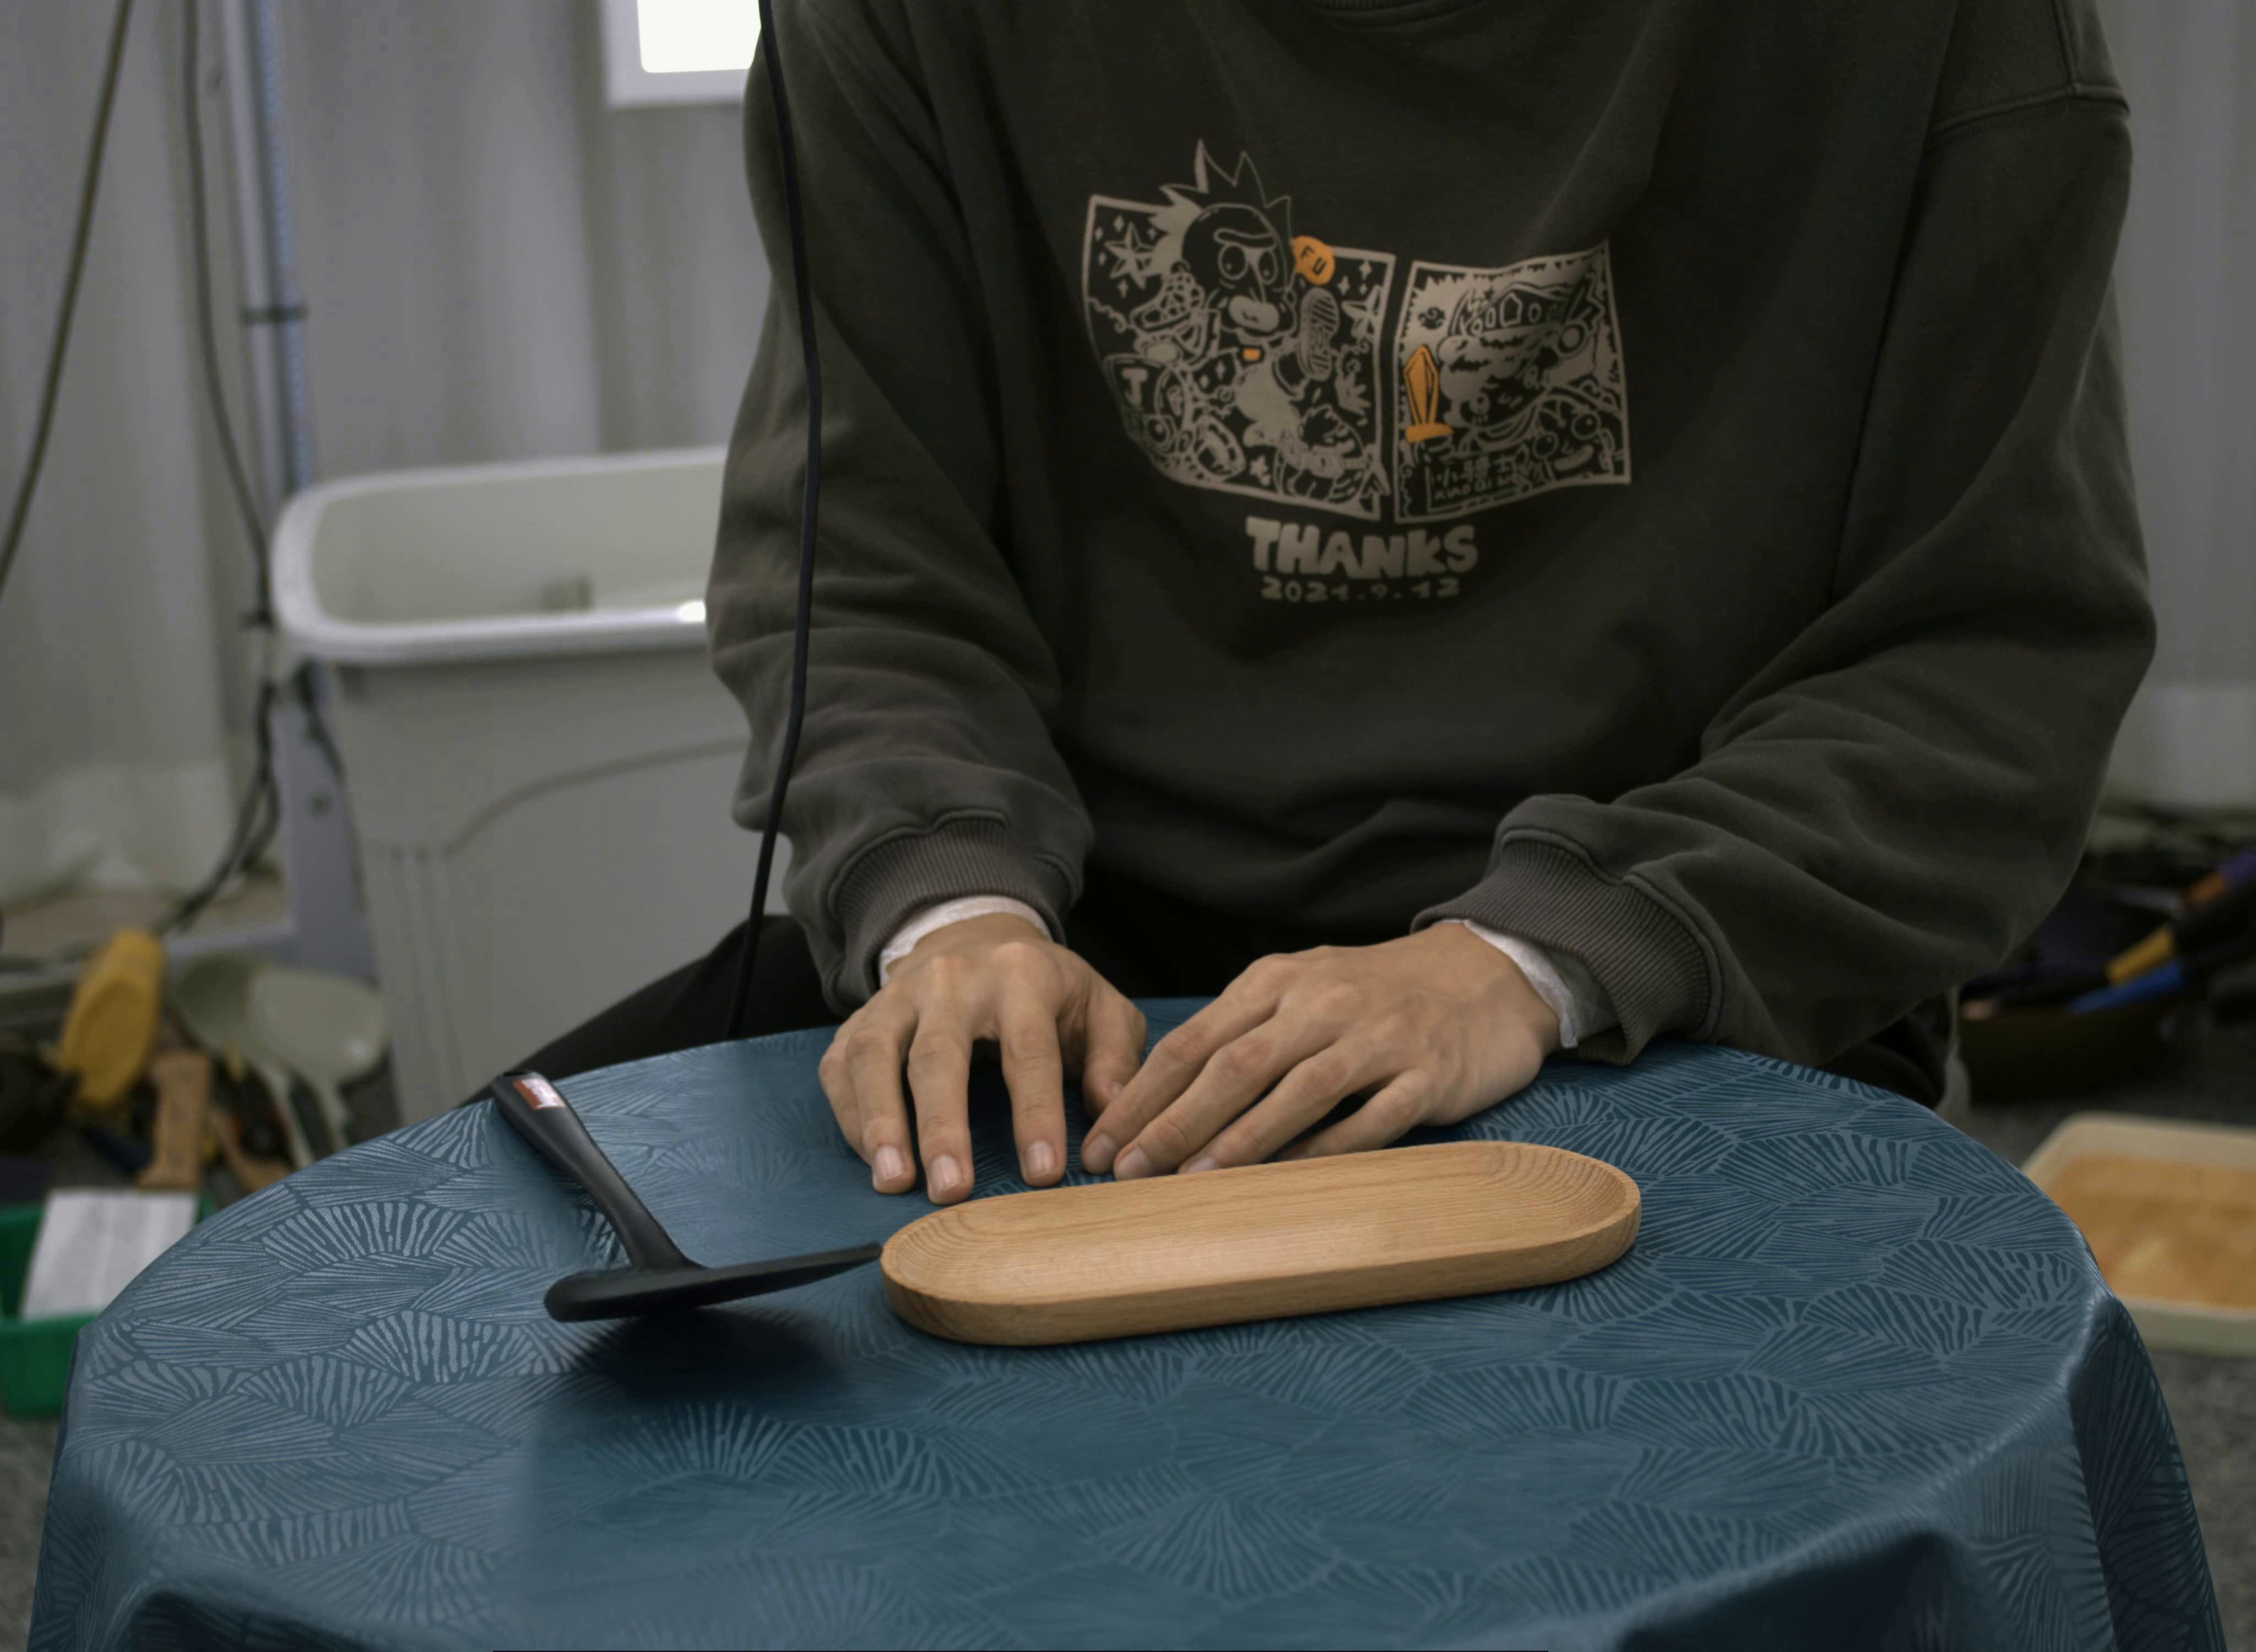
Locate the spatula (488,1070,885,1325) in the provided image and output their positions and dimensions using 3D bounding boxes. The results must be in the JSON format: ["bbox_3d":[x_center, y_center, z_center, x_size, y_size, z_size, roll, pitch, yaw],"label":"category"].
[{"bbox_3d":[-0.161,0.110,1.703,0.099,0.040,0.329,-6,15,-17],"label":"spatula"}]

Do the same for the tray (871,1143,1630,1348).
[{"bbox_3d":[0.038,0.126,1.641,0.230,0.020,0.102,-7,15,-10],"label":"tray"}]
